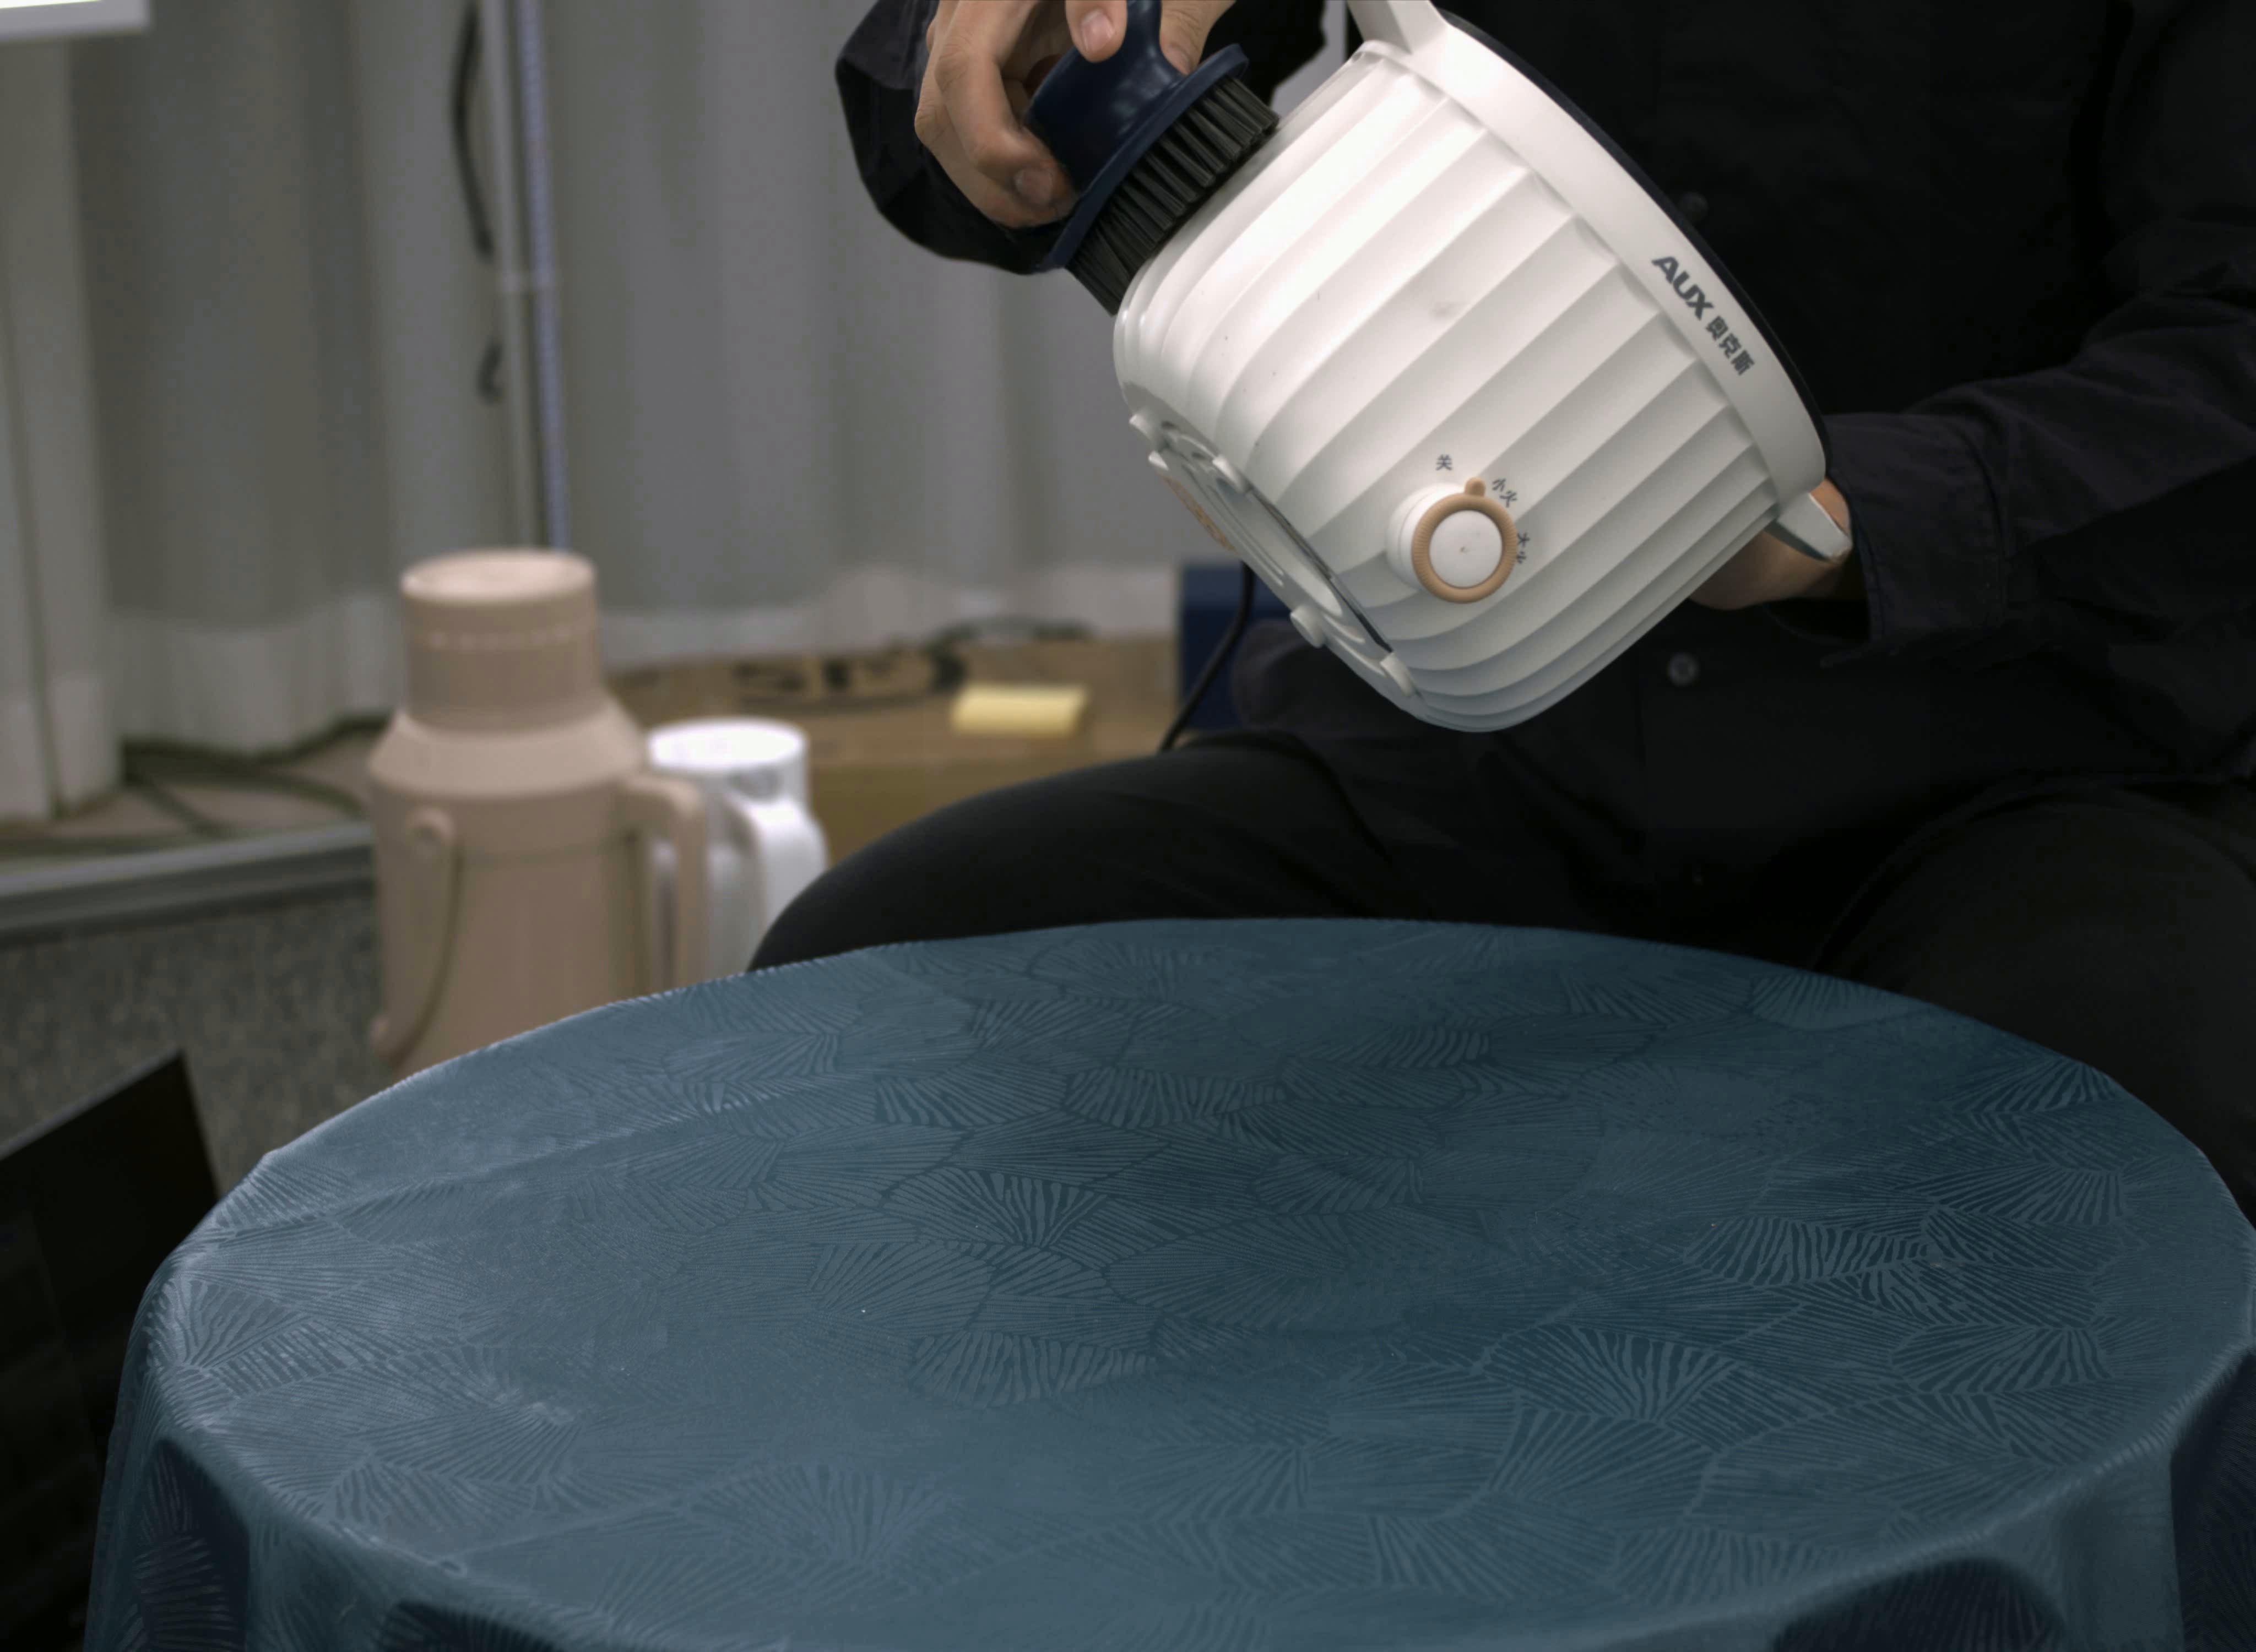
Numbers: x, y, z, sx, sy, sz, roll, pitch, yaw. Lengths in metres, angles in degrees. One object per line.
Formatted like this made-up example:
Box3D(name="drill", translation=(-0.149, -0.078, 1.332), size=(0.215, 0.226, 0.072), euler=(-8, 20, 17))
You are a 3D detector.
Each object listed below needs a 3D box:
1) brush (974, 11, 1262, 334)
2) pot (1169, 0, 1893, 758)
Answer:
Box3D(name="brush", translation=(-0.001, -0.185, 1.545), size=(0.067, 0.061, 0.122), euler=(-47, -1, -13))
Box3D(name="pot", translation=(0.108, -0.113, 1.513), size=(0.142, 0.237, 0.193), euler=(-44, 21, -6))
